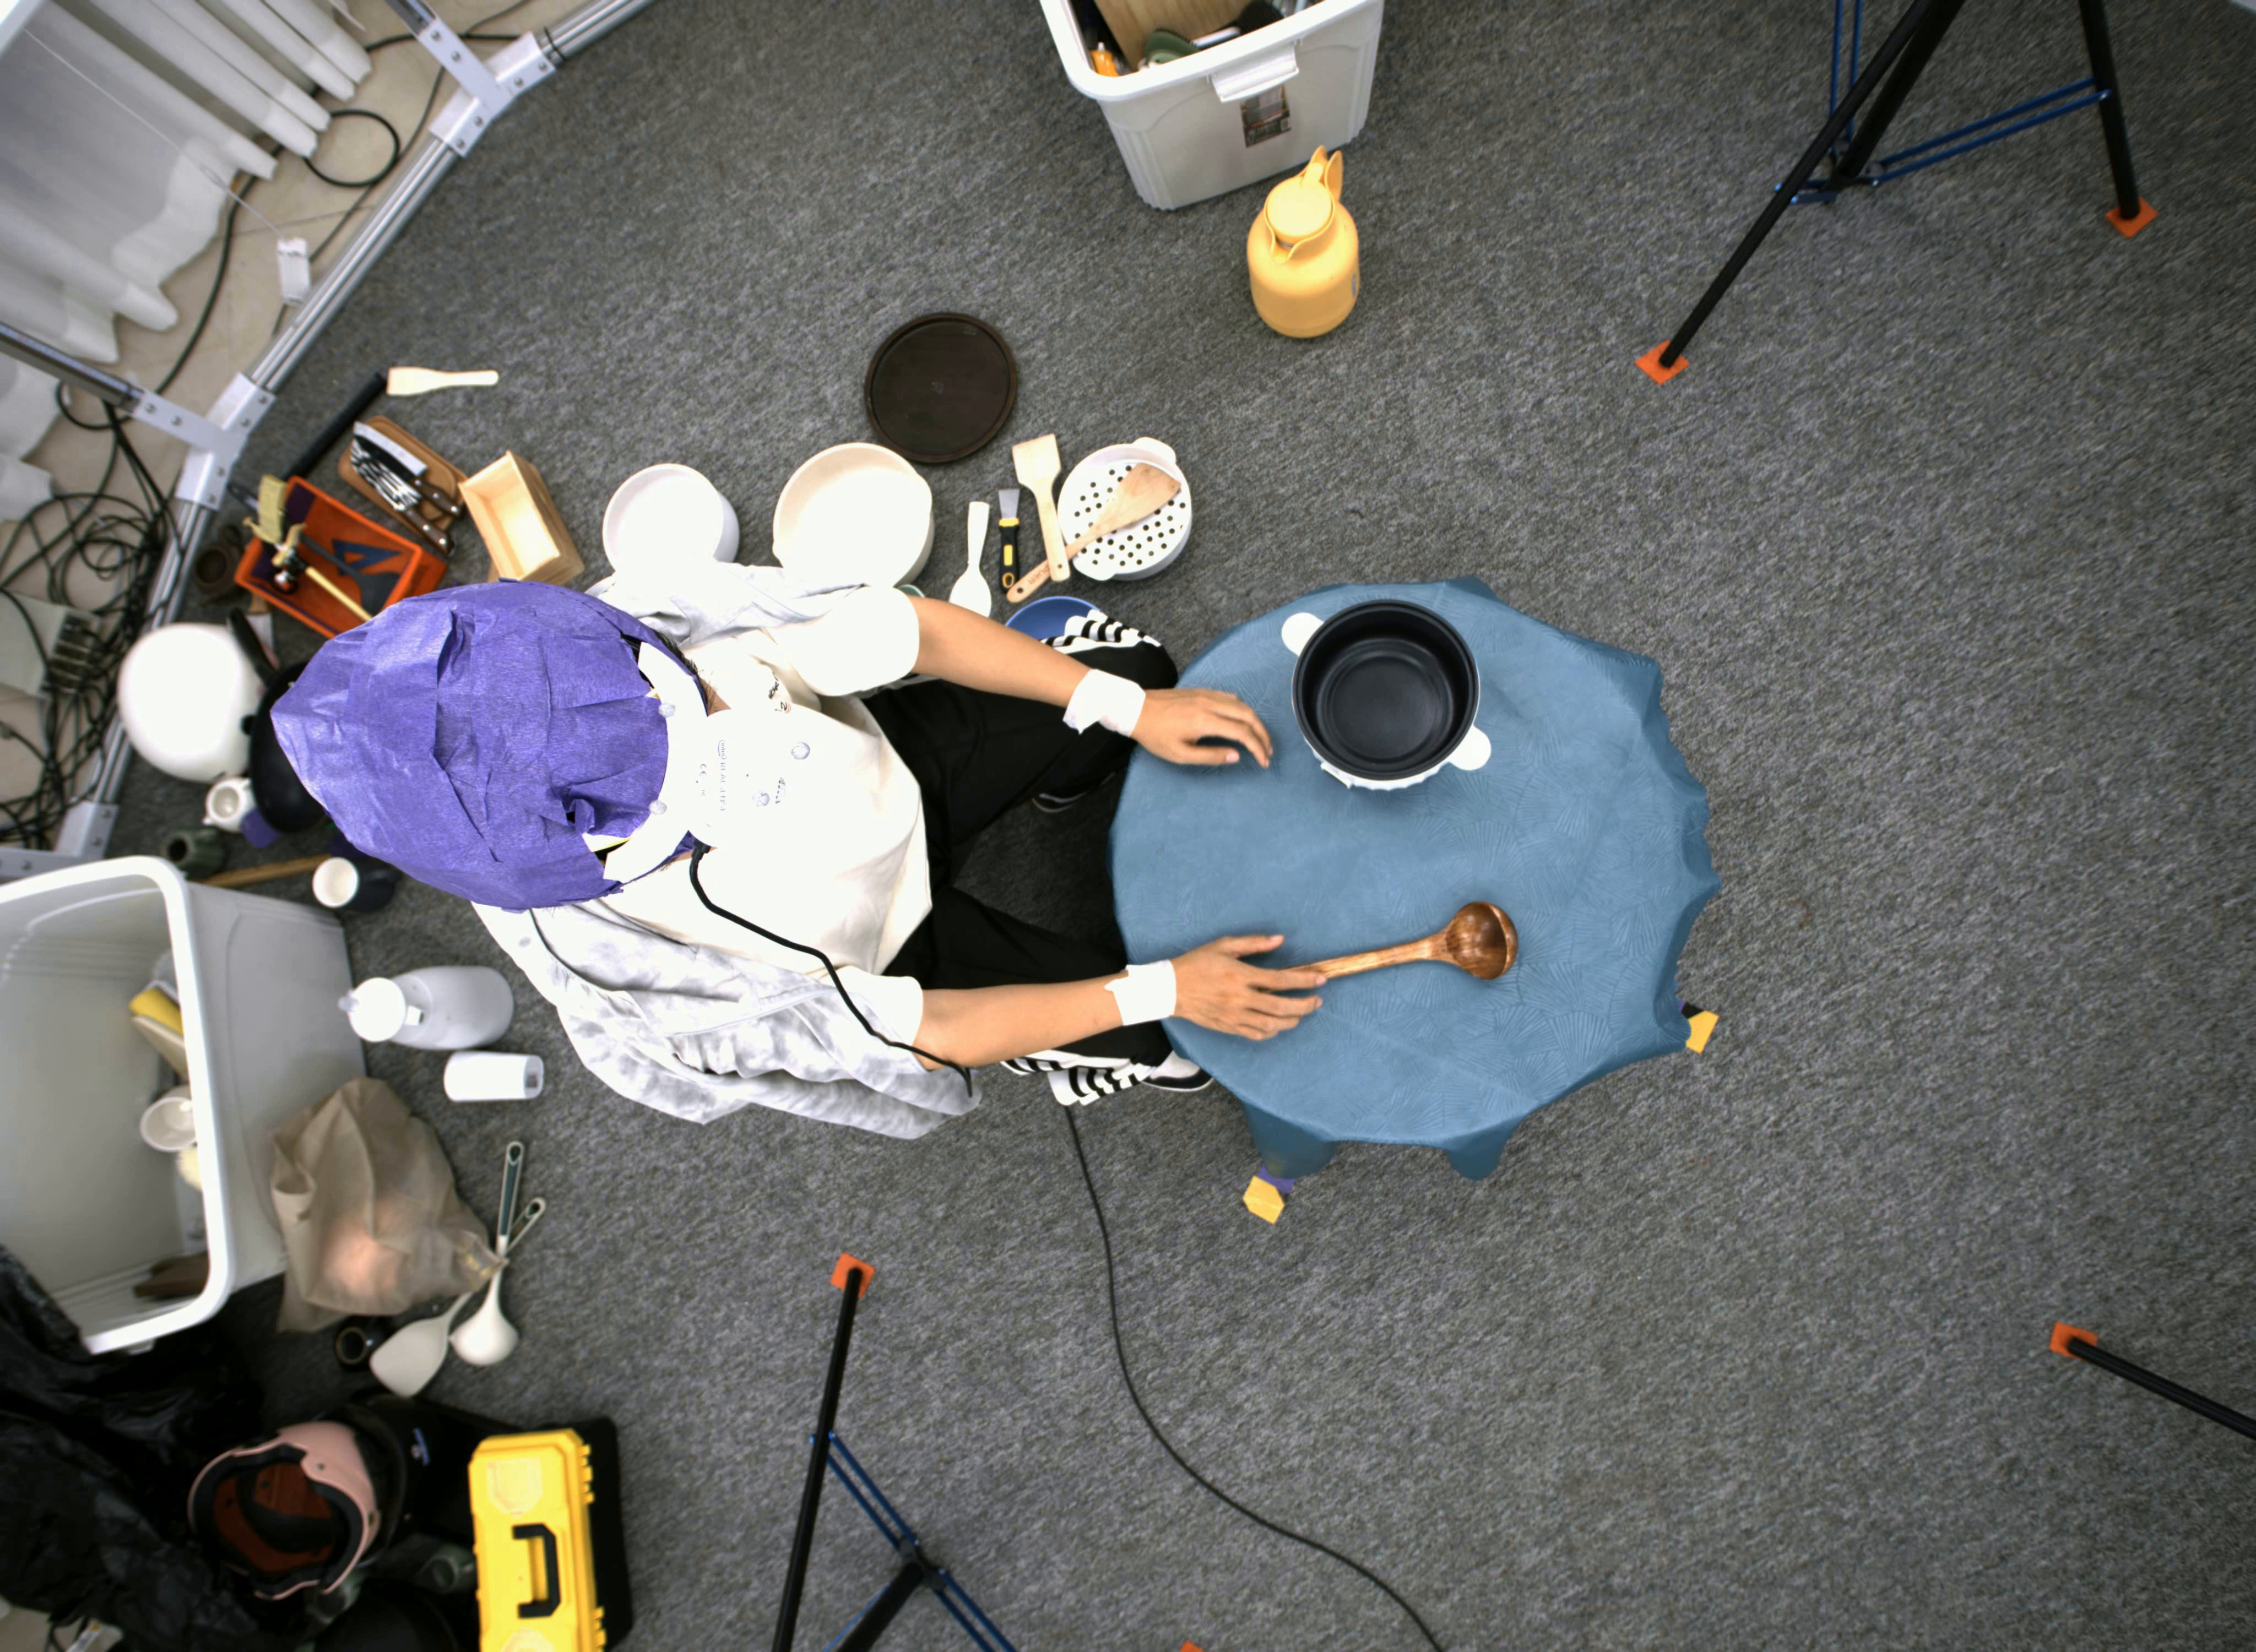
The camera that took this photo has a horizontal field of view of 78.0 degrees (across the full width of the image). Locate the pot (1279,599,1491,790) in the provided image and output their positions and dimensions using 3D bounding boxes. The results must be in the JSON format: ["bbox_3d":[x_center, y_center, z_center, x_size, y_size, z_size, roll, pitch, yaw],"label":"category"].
[{"bbox_3d":[0.263,-0.133,1.400,0.240,0.142,0.191,36,96,10],"label":"pot"}]

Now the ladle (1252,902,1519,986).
[{"bbox_3d":[0.260,0.135,1.417,0.275,0.076,0.081,-11,84,10],"label":"ladle"}]
